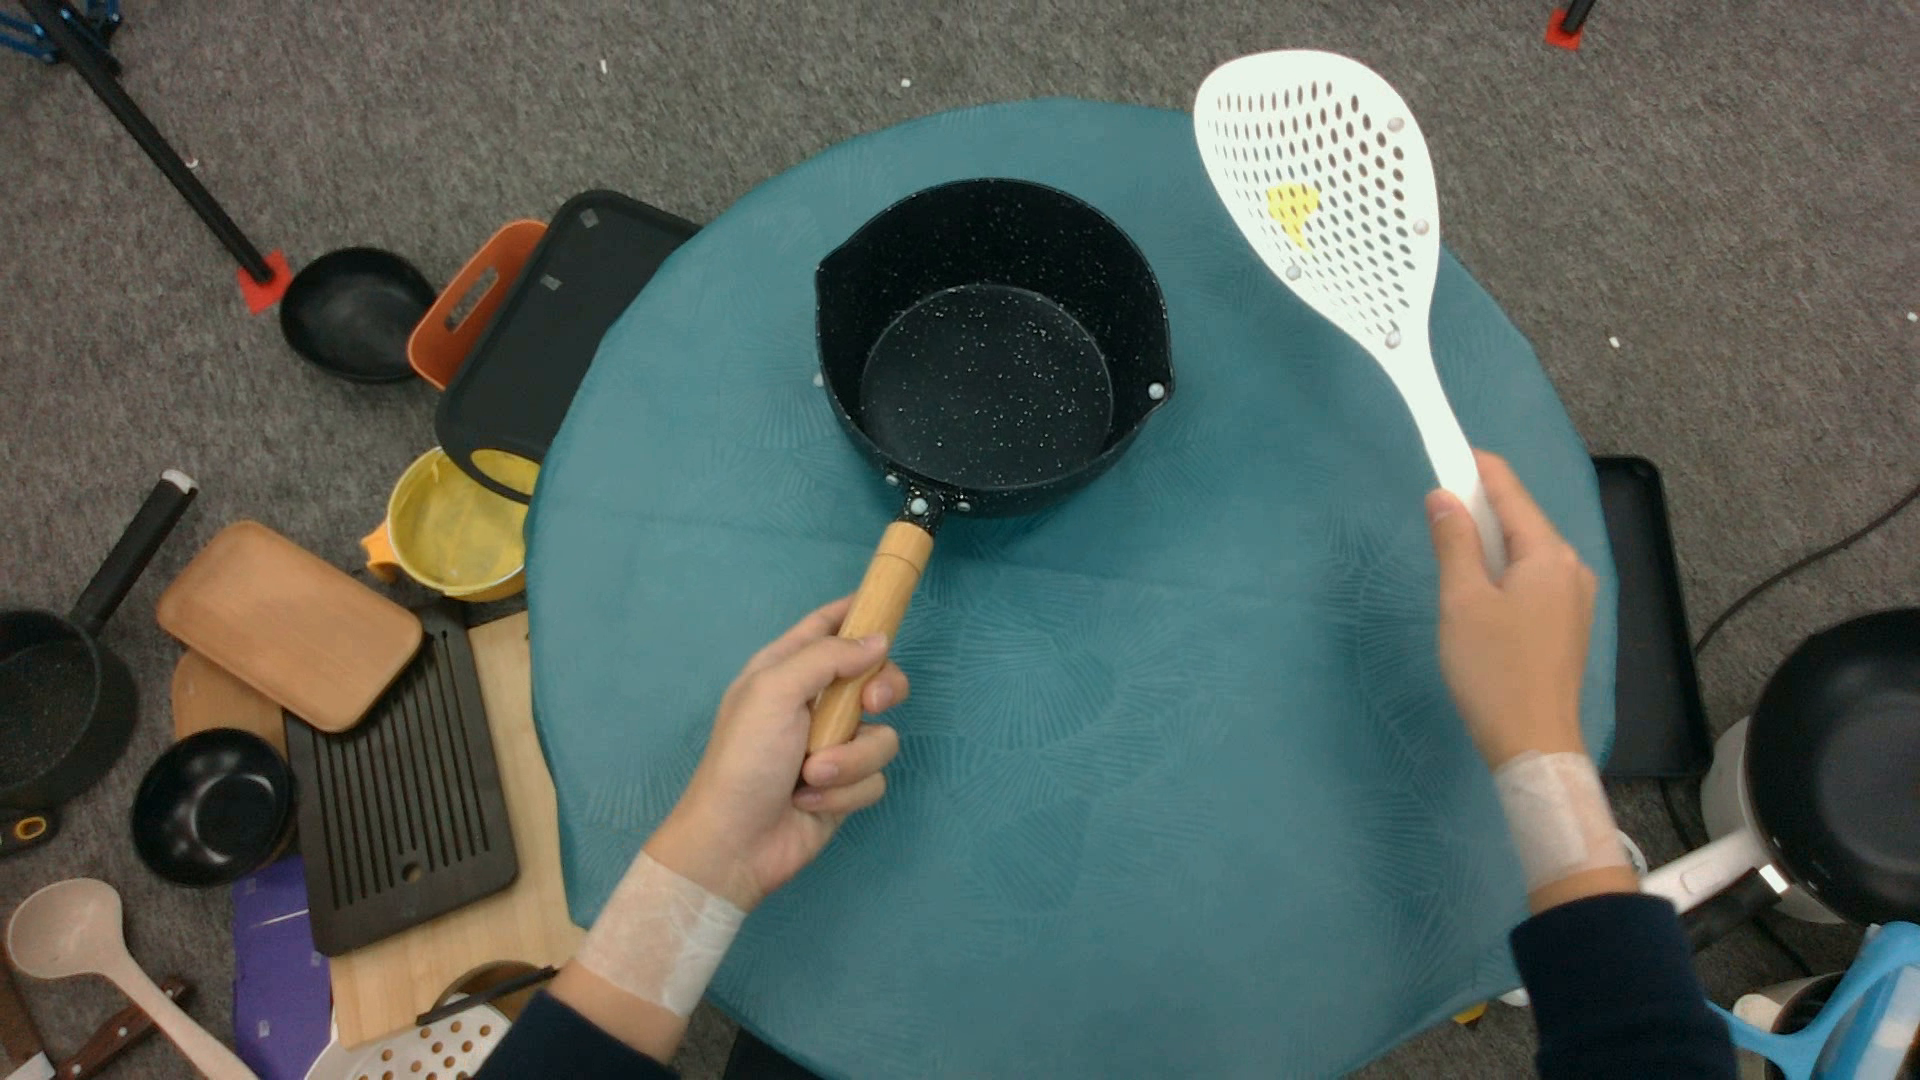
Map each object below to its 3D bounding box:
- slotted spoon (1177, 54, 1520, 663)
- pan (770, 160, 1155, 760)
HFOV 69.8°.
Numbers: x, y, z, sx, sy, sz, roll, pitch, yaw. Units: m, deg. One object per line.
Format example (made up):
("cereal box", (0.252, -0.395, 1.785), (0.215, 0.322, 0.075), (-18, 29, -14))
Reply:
("slotted spoon", (0.212, -0.102, 0.714), (0.137, 0.050, 0.348), (-13, 70, -23))
("pan", (-0.020, -0.038, 0.715), (0.207, 0.108, 0.344), (17, 69, 3))
